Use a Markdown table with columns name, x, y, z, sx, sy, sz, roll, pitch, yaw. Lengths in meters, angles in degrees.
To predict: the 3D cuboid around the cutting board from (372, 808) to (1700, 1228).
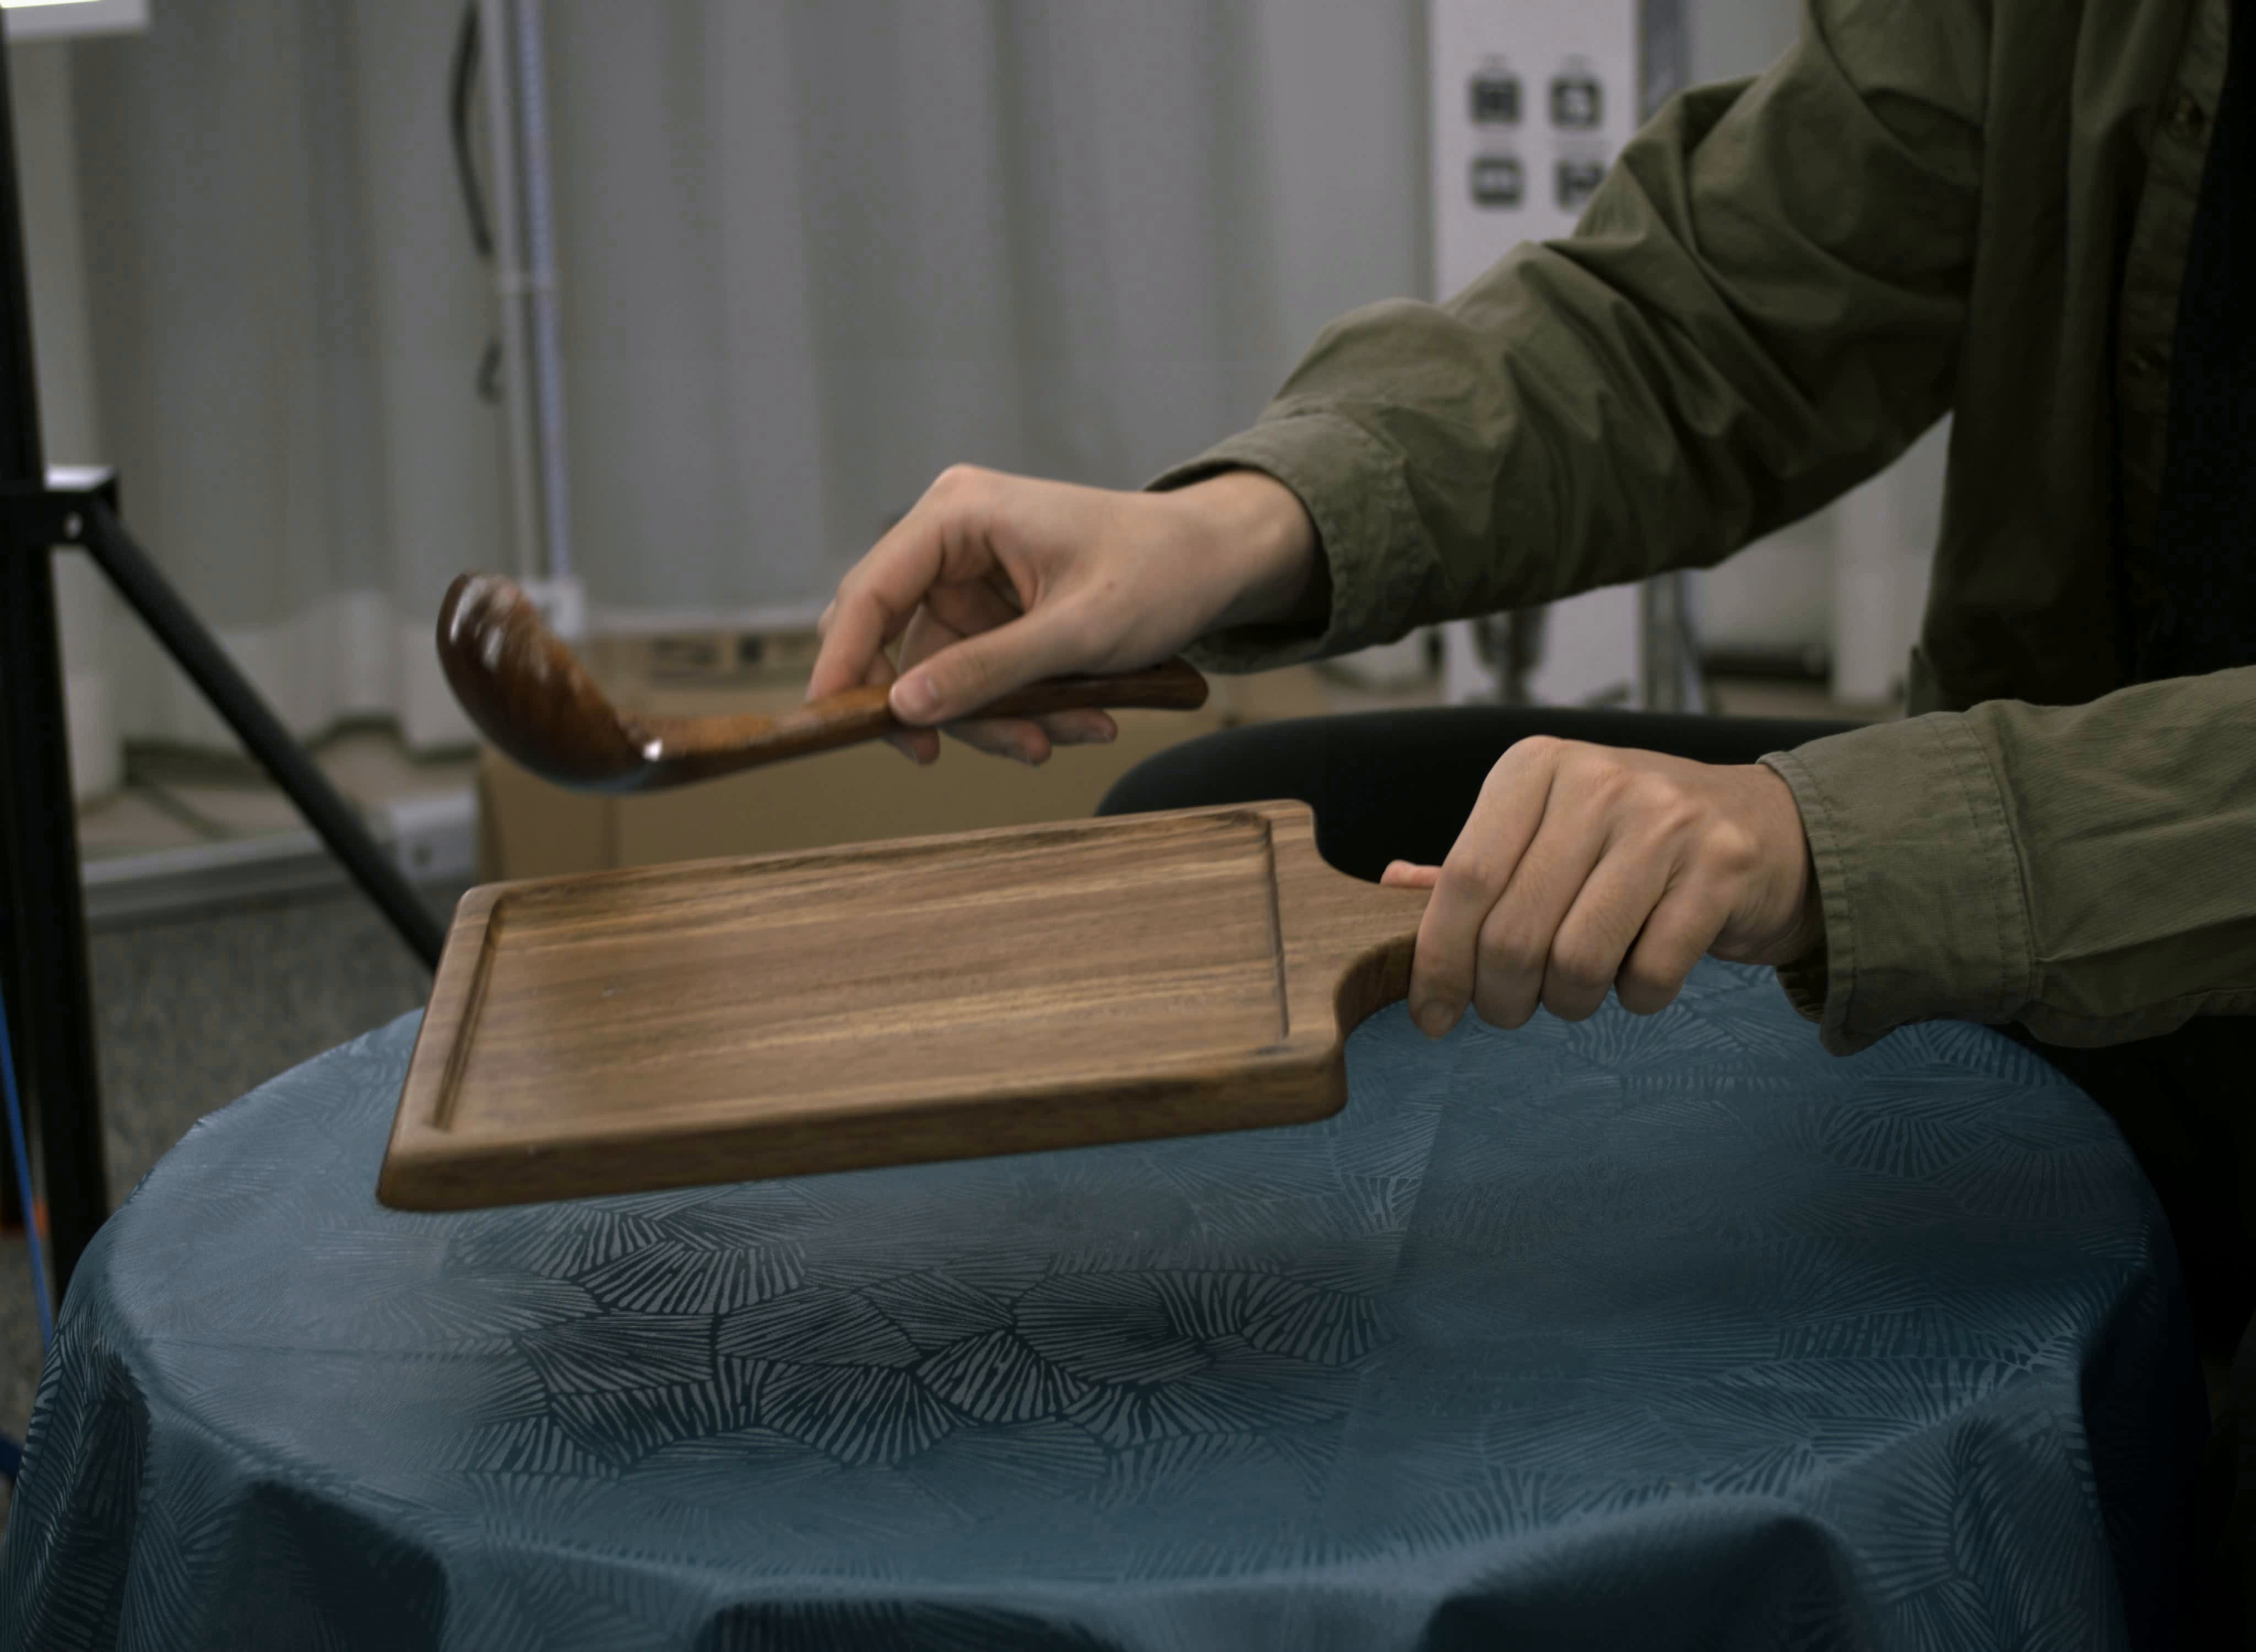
| name | x | y | z | sx | sy | sz | roll | pitch | yaw |
| --- | --- | --- | --- | --- | --- | --- | --- | --- | --- |
| cutting board | -0.021 | 0.045 | 1.439 | 0.352 | 0.023 | 0.202 | -5 | 21 | 5 |

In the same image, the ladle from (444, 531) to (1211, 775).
| name | x | y | z | sx | sy | sz | roll | pitch | yaw |
| --- | --- | --- | --- | --- | --- | --- | --- | --- | --- |
| ladle | -0.086 | -0.061 | 1.646 | 0.267 | 0.076 | 0.084 | -7 | 33 | -32 |
